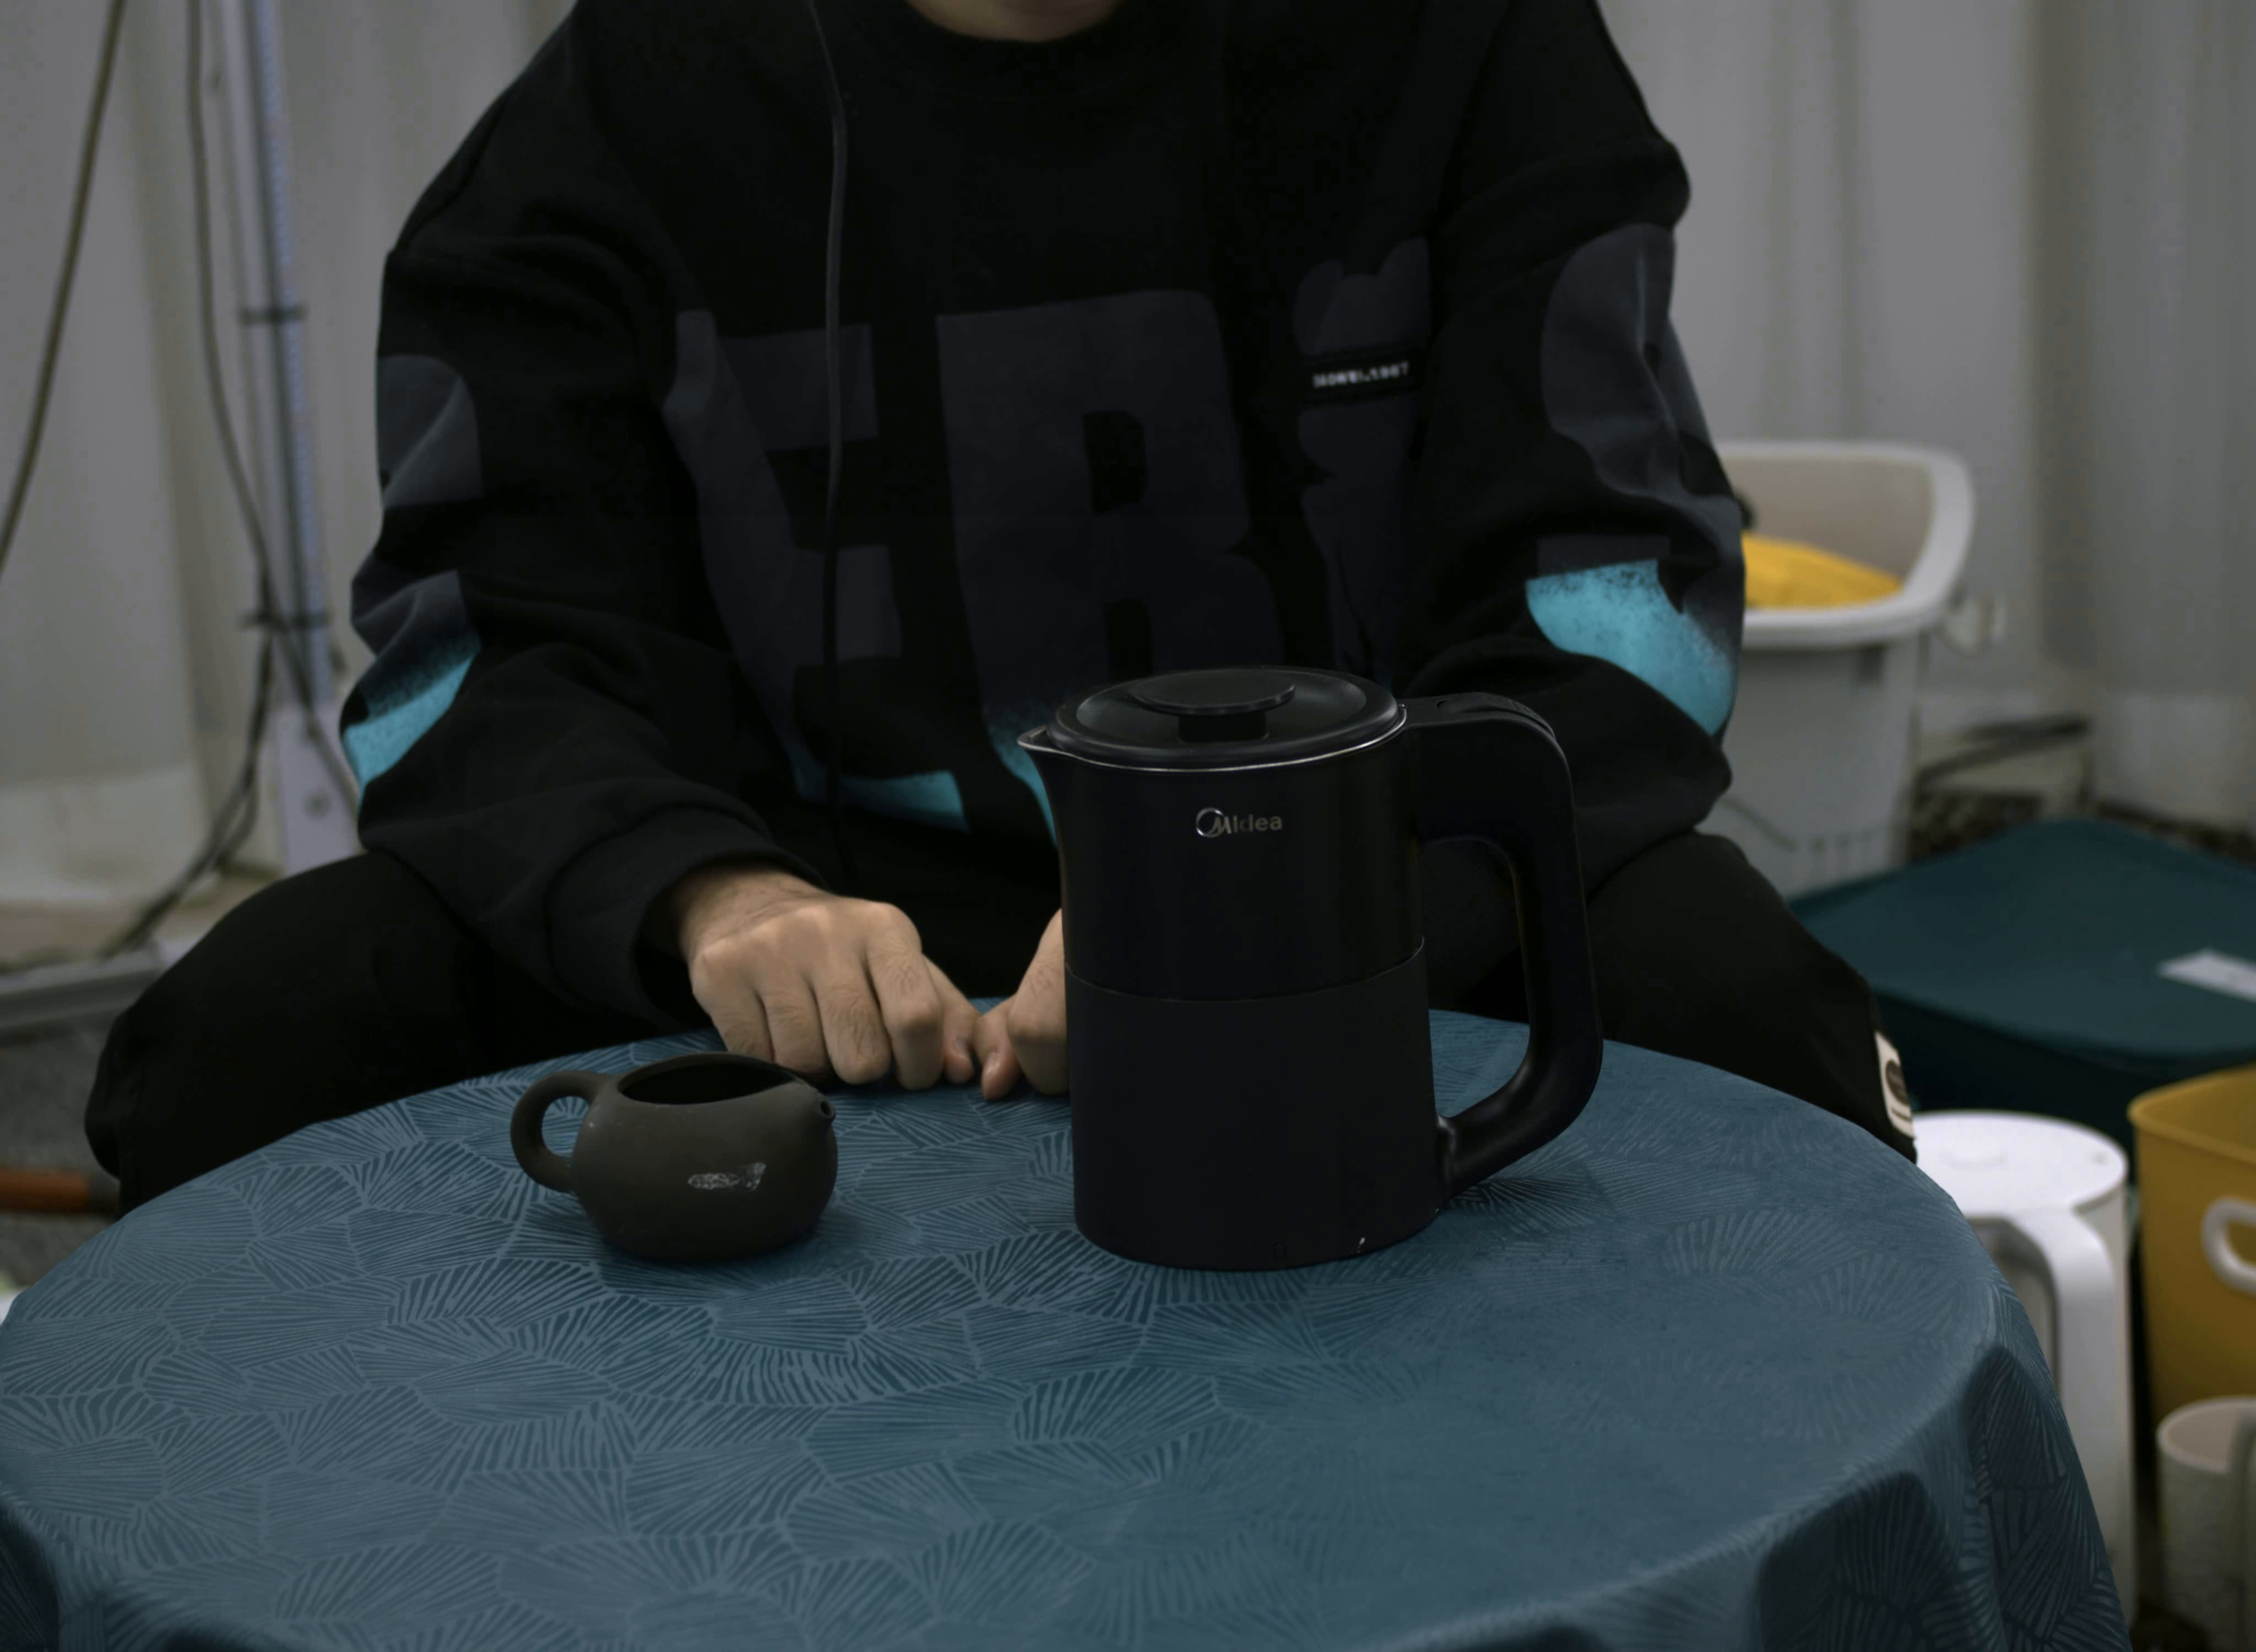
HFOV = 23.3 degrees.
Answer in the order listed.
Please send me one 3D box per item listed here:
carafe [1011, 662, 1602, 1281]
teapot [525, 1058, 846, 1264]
[{"bbox_3d":[0.056,0.036,1.670,0.171,0.173,0.115,-7,13,-5],"label":"carafe"},{"bbox_3d":[-0.139,0.101,1.696,0.114,0.053,0.083,9,18,29],"label":"teapot"}]
